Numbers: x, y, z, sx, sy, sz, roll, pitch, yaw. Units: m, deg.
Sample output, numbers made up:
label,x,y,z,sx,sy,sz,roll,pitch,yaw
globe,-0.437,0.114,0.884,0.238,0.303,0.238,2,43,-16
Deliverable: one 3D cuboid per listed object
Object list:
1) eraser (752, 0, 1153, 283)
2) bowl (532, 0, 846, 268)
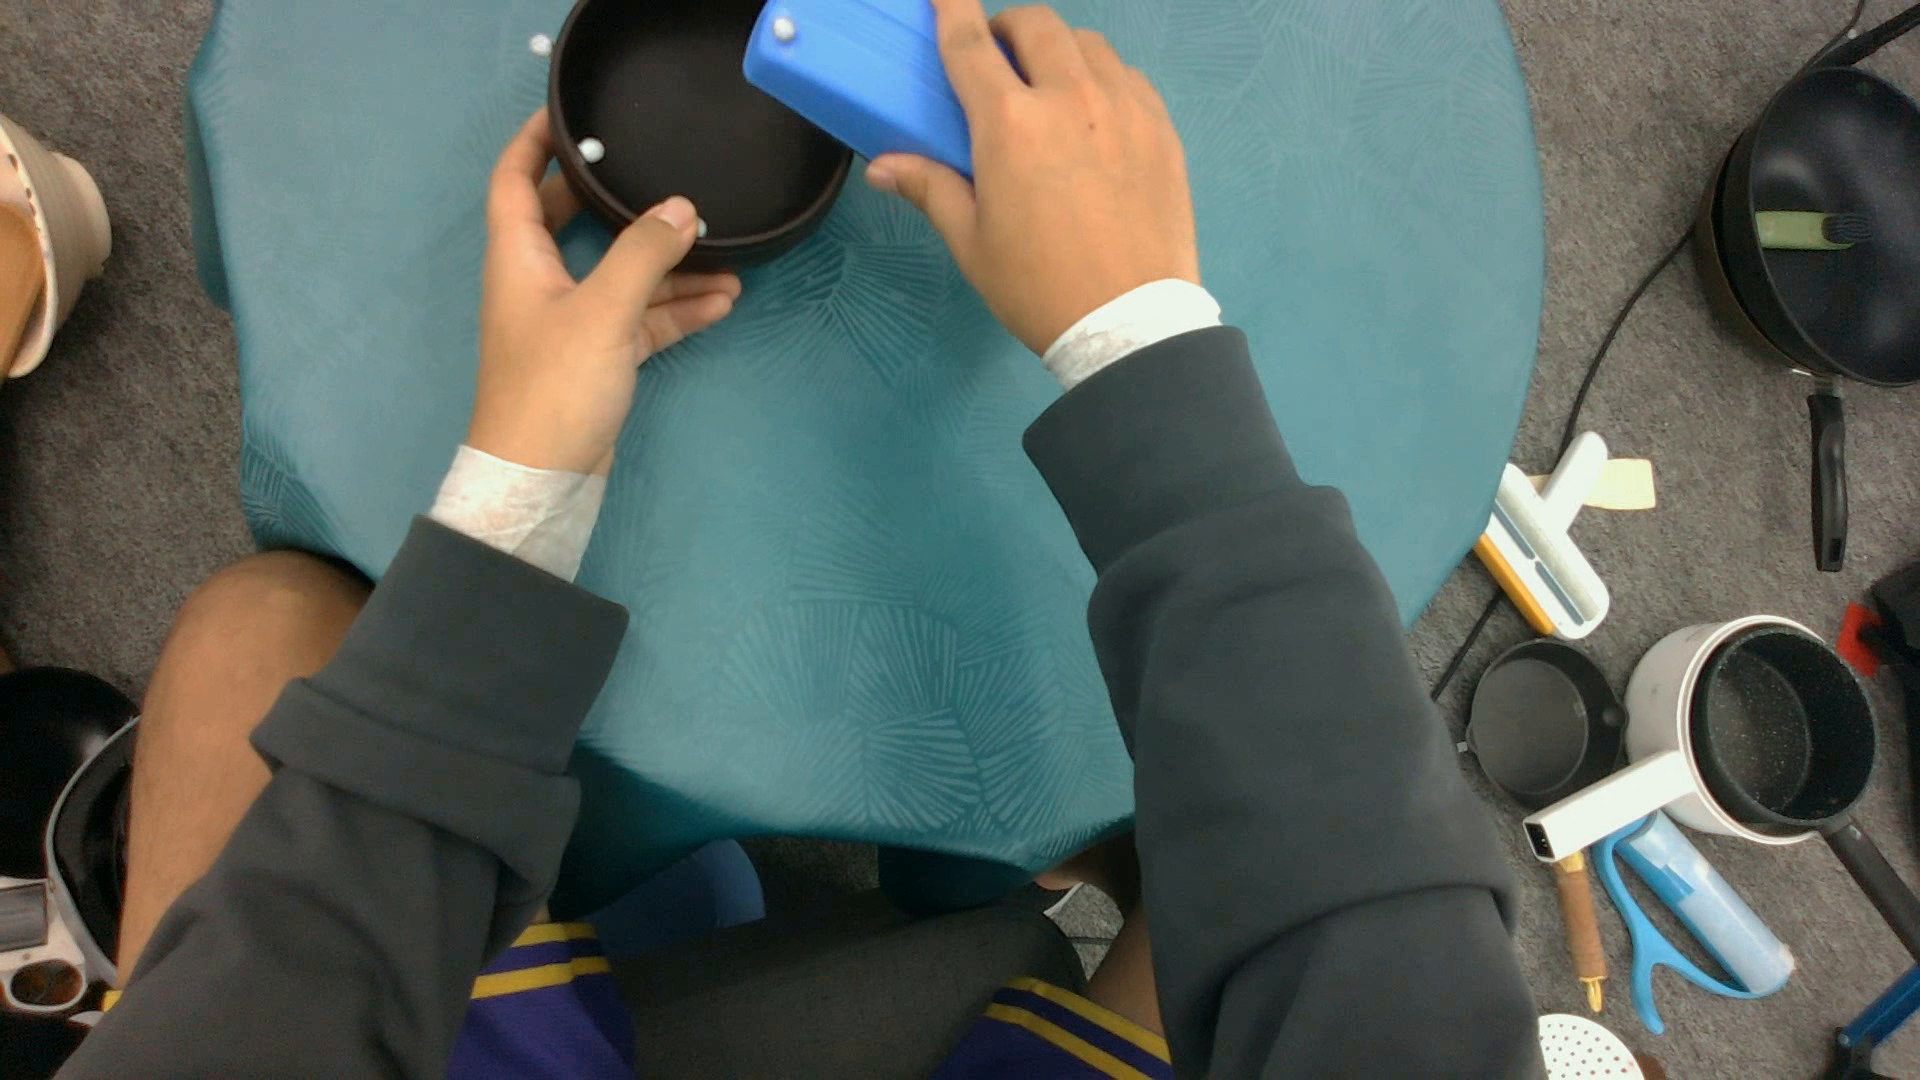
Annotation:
label,x,y,z,sx,sy,sz,roll,pitch,yaw
eraser,0.002,-0.165,0.524,0.162,0.047,0.054,32,72,-16
bowl,-0.108,-0.164,0.545,0.118,0.069,0.118,2,84,-16
